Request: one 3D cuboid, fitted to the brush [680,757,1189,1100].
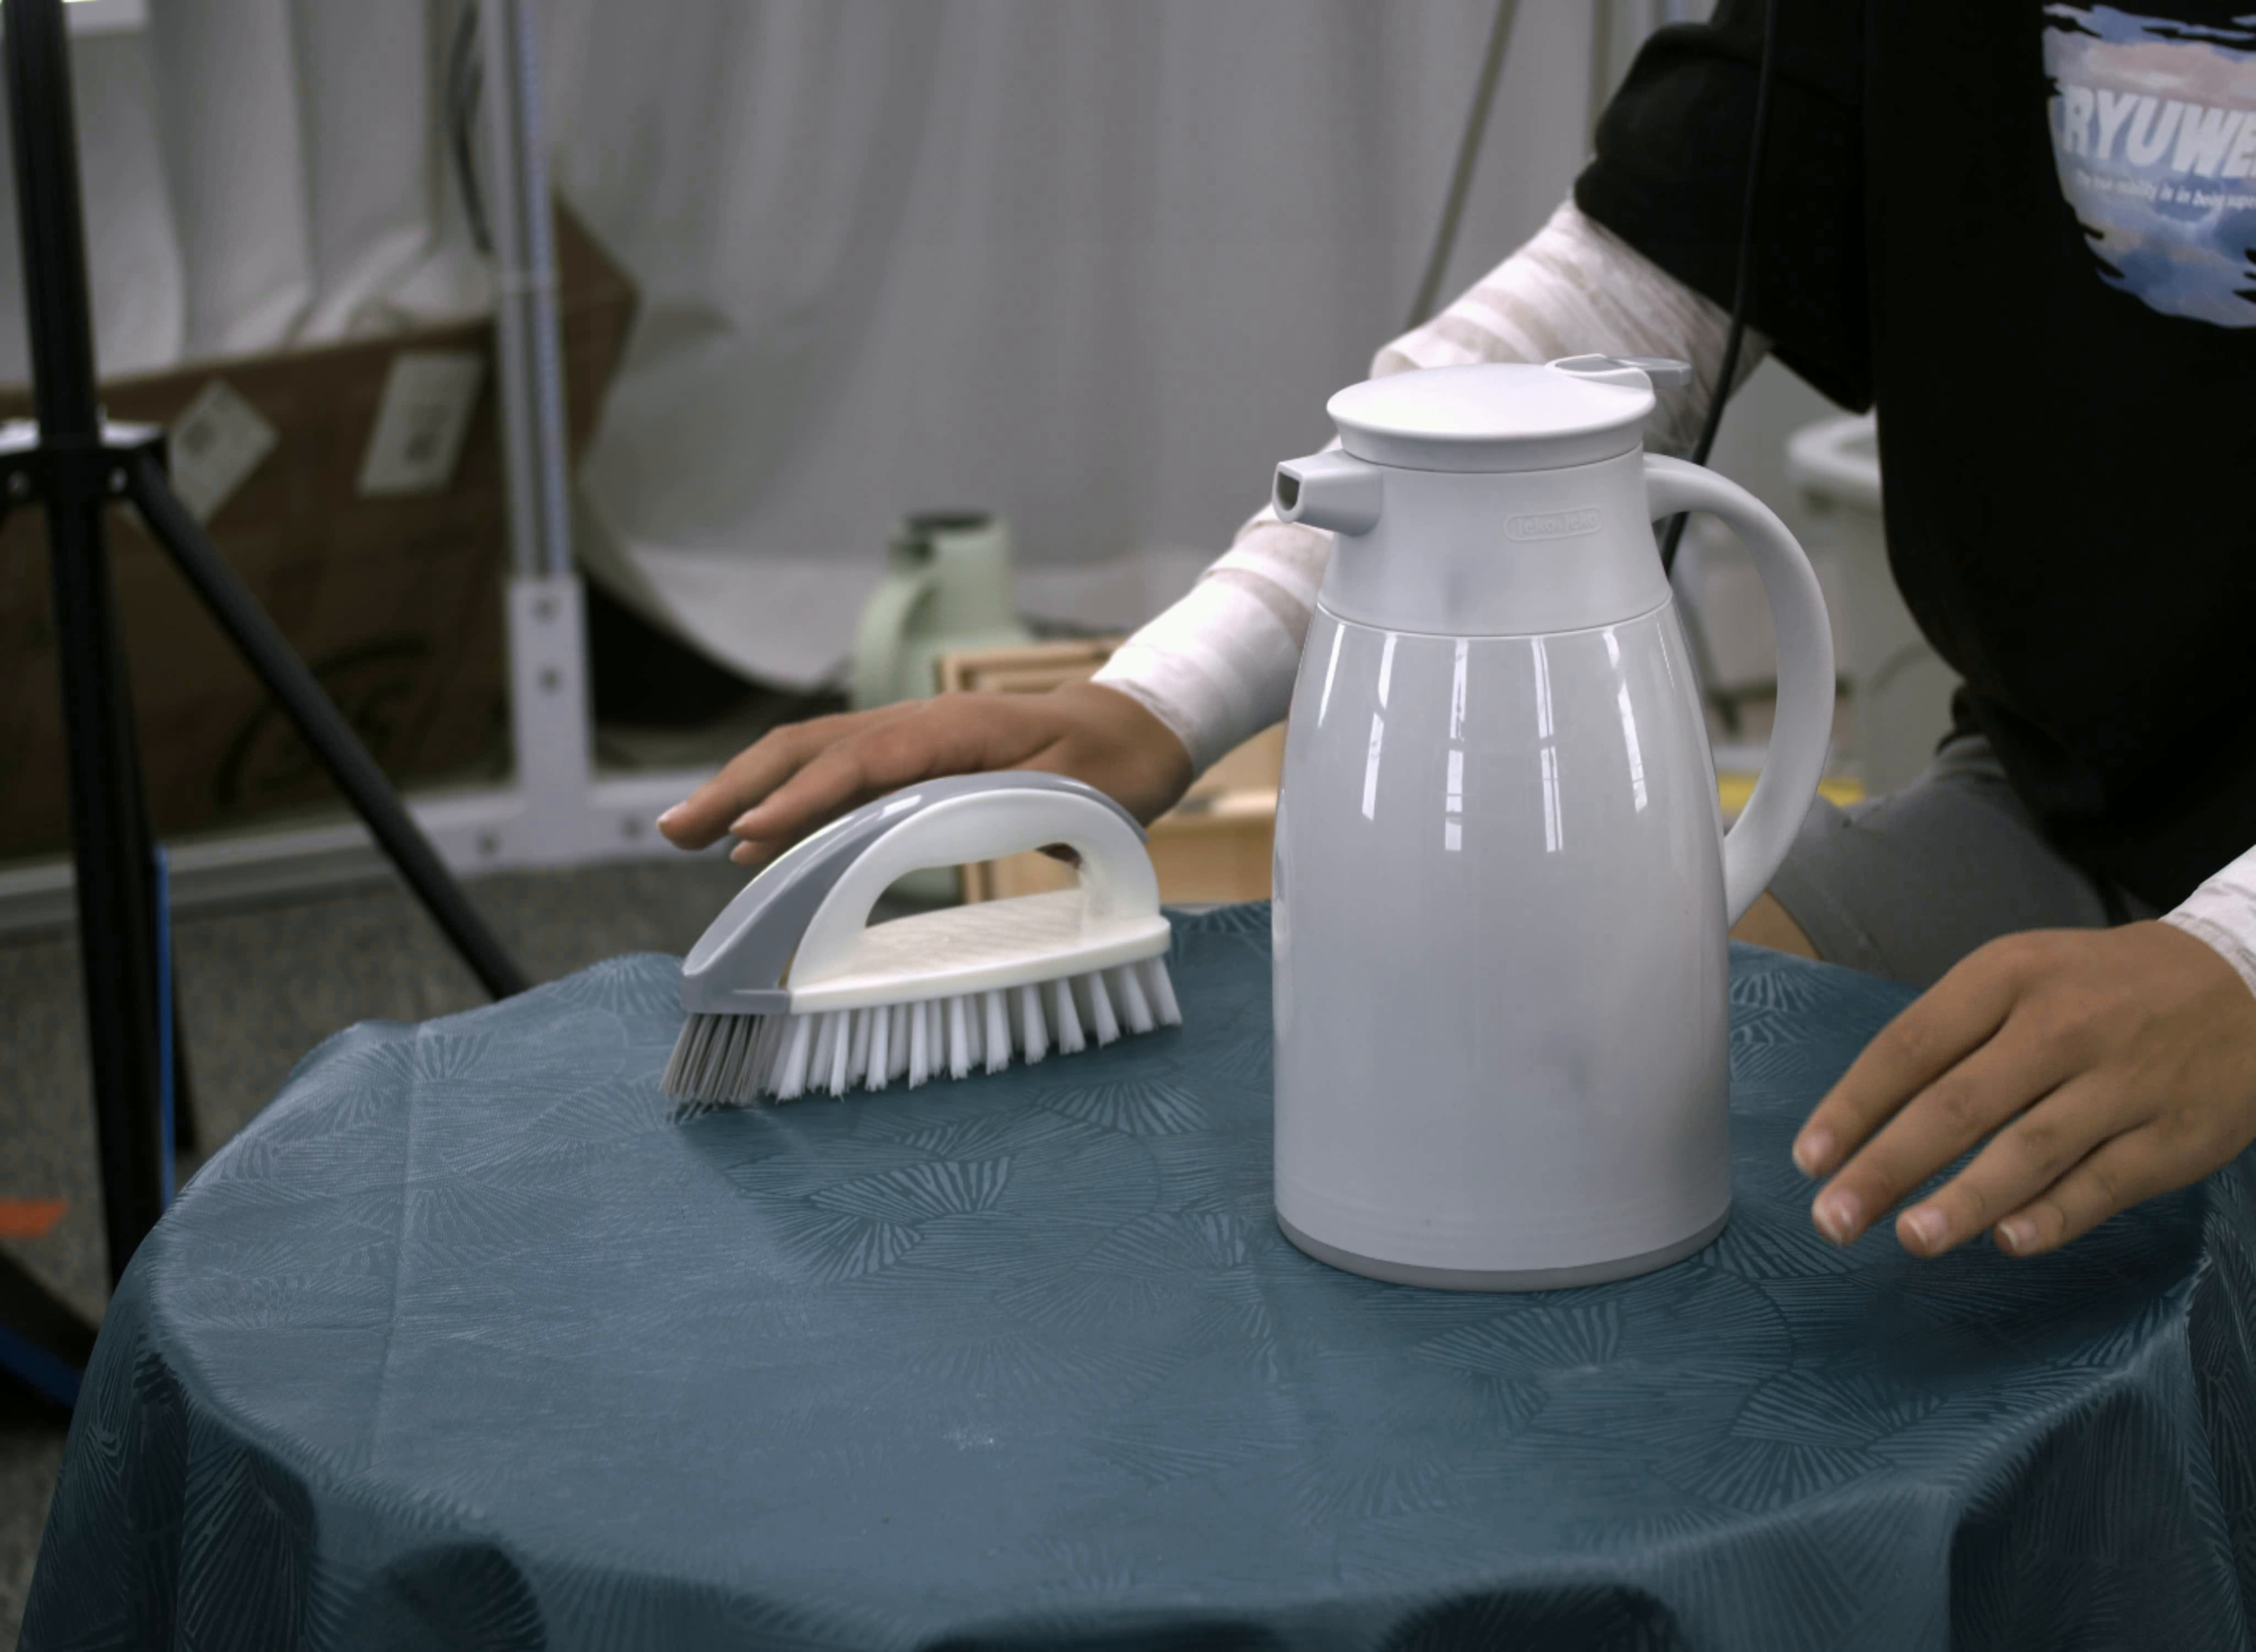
[{"bbox_3d":[-0.066,0.031,1.674,0.172,0.094,0.063,-11,16,-27],"label":"brush"}]

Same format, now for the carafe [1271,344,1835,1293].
[{"bbox_3d":[0.122,-0.010,1.504,0.164,0.249,0.135,-7,15,-20],"label":"carafe"}]
